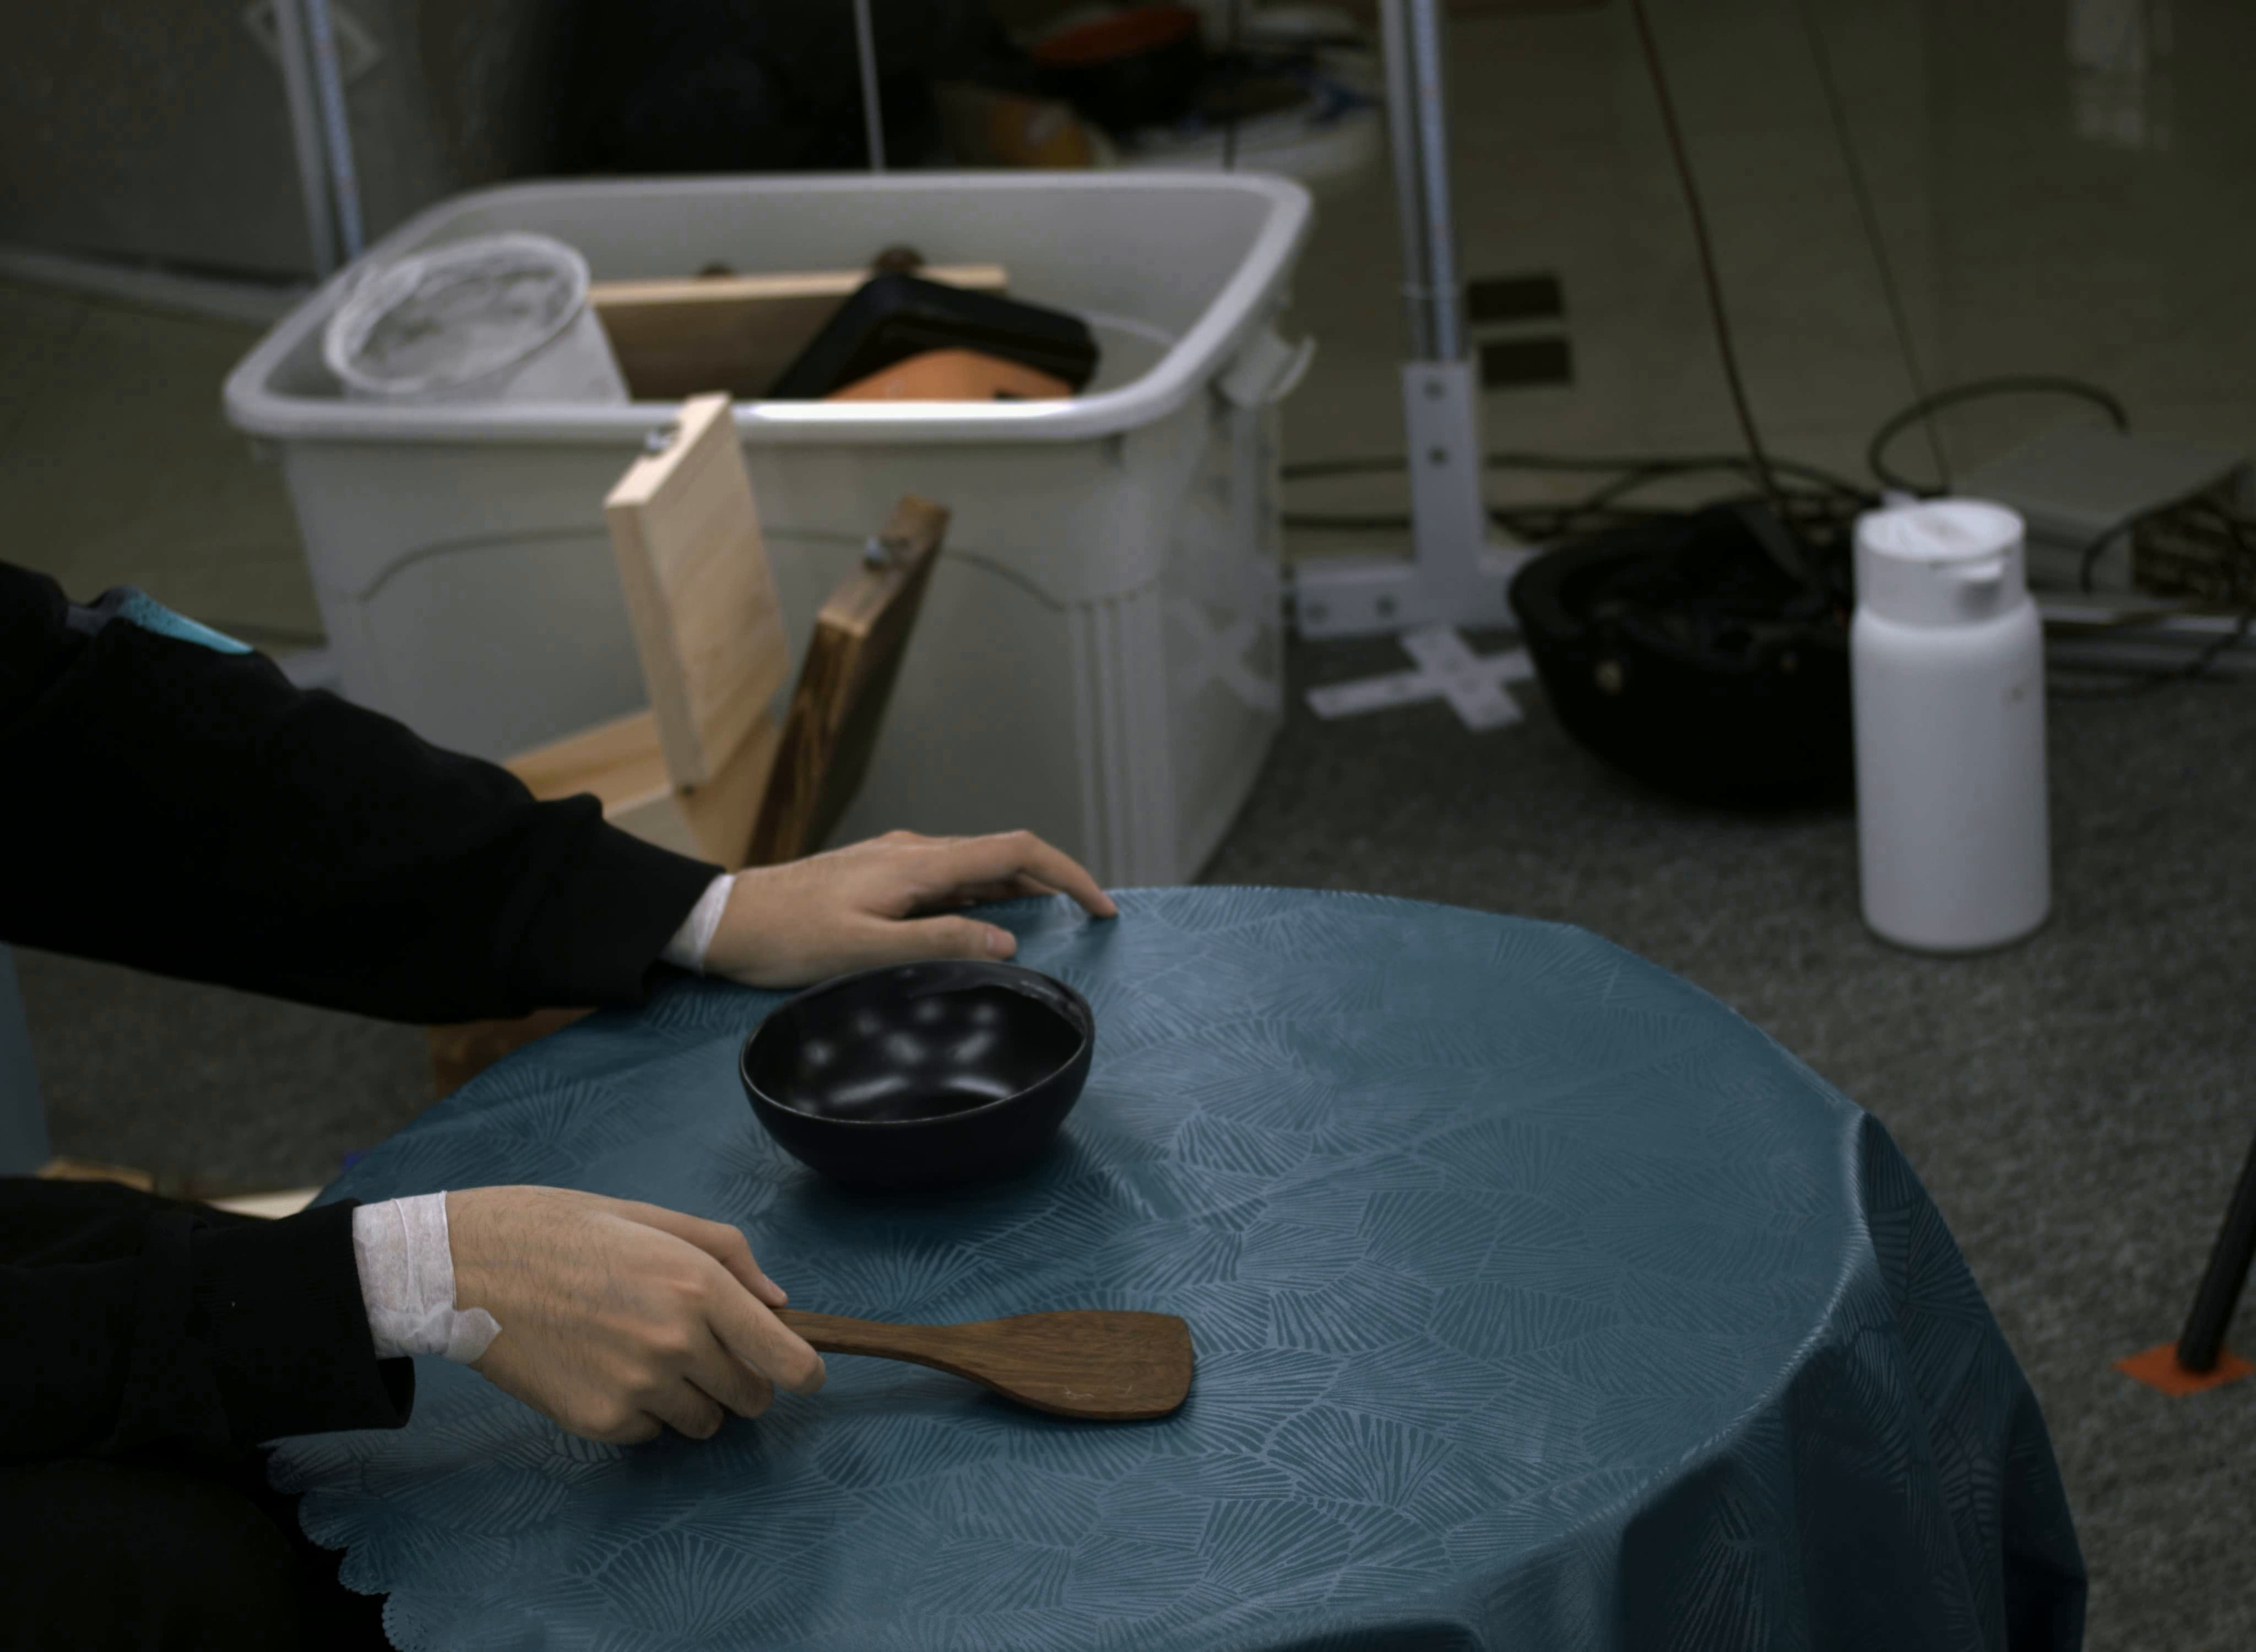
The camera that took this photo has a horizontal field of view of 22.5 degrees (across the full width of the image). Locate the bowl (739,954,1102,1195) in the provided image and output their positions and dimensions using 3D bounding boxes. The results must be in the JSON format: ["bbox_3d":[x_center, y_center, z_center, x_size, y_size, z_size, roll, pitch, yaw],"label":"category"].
[{"bbox_3d":[-0.078,0.104,2.190,0.140,0.050,0.138,-5,28,3],"label":"bowl"}]

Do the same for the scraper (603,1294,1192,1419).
[{"bbox_3d":[-0.082,0.185,2.027,0.211,0.011,0.075,6,23,-1],"label":"scraper"}]
